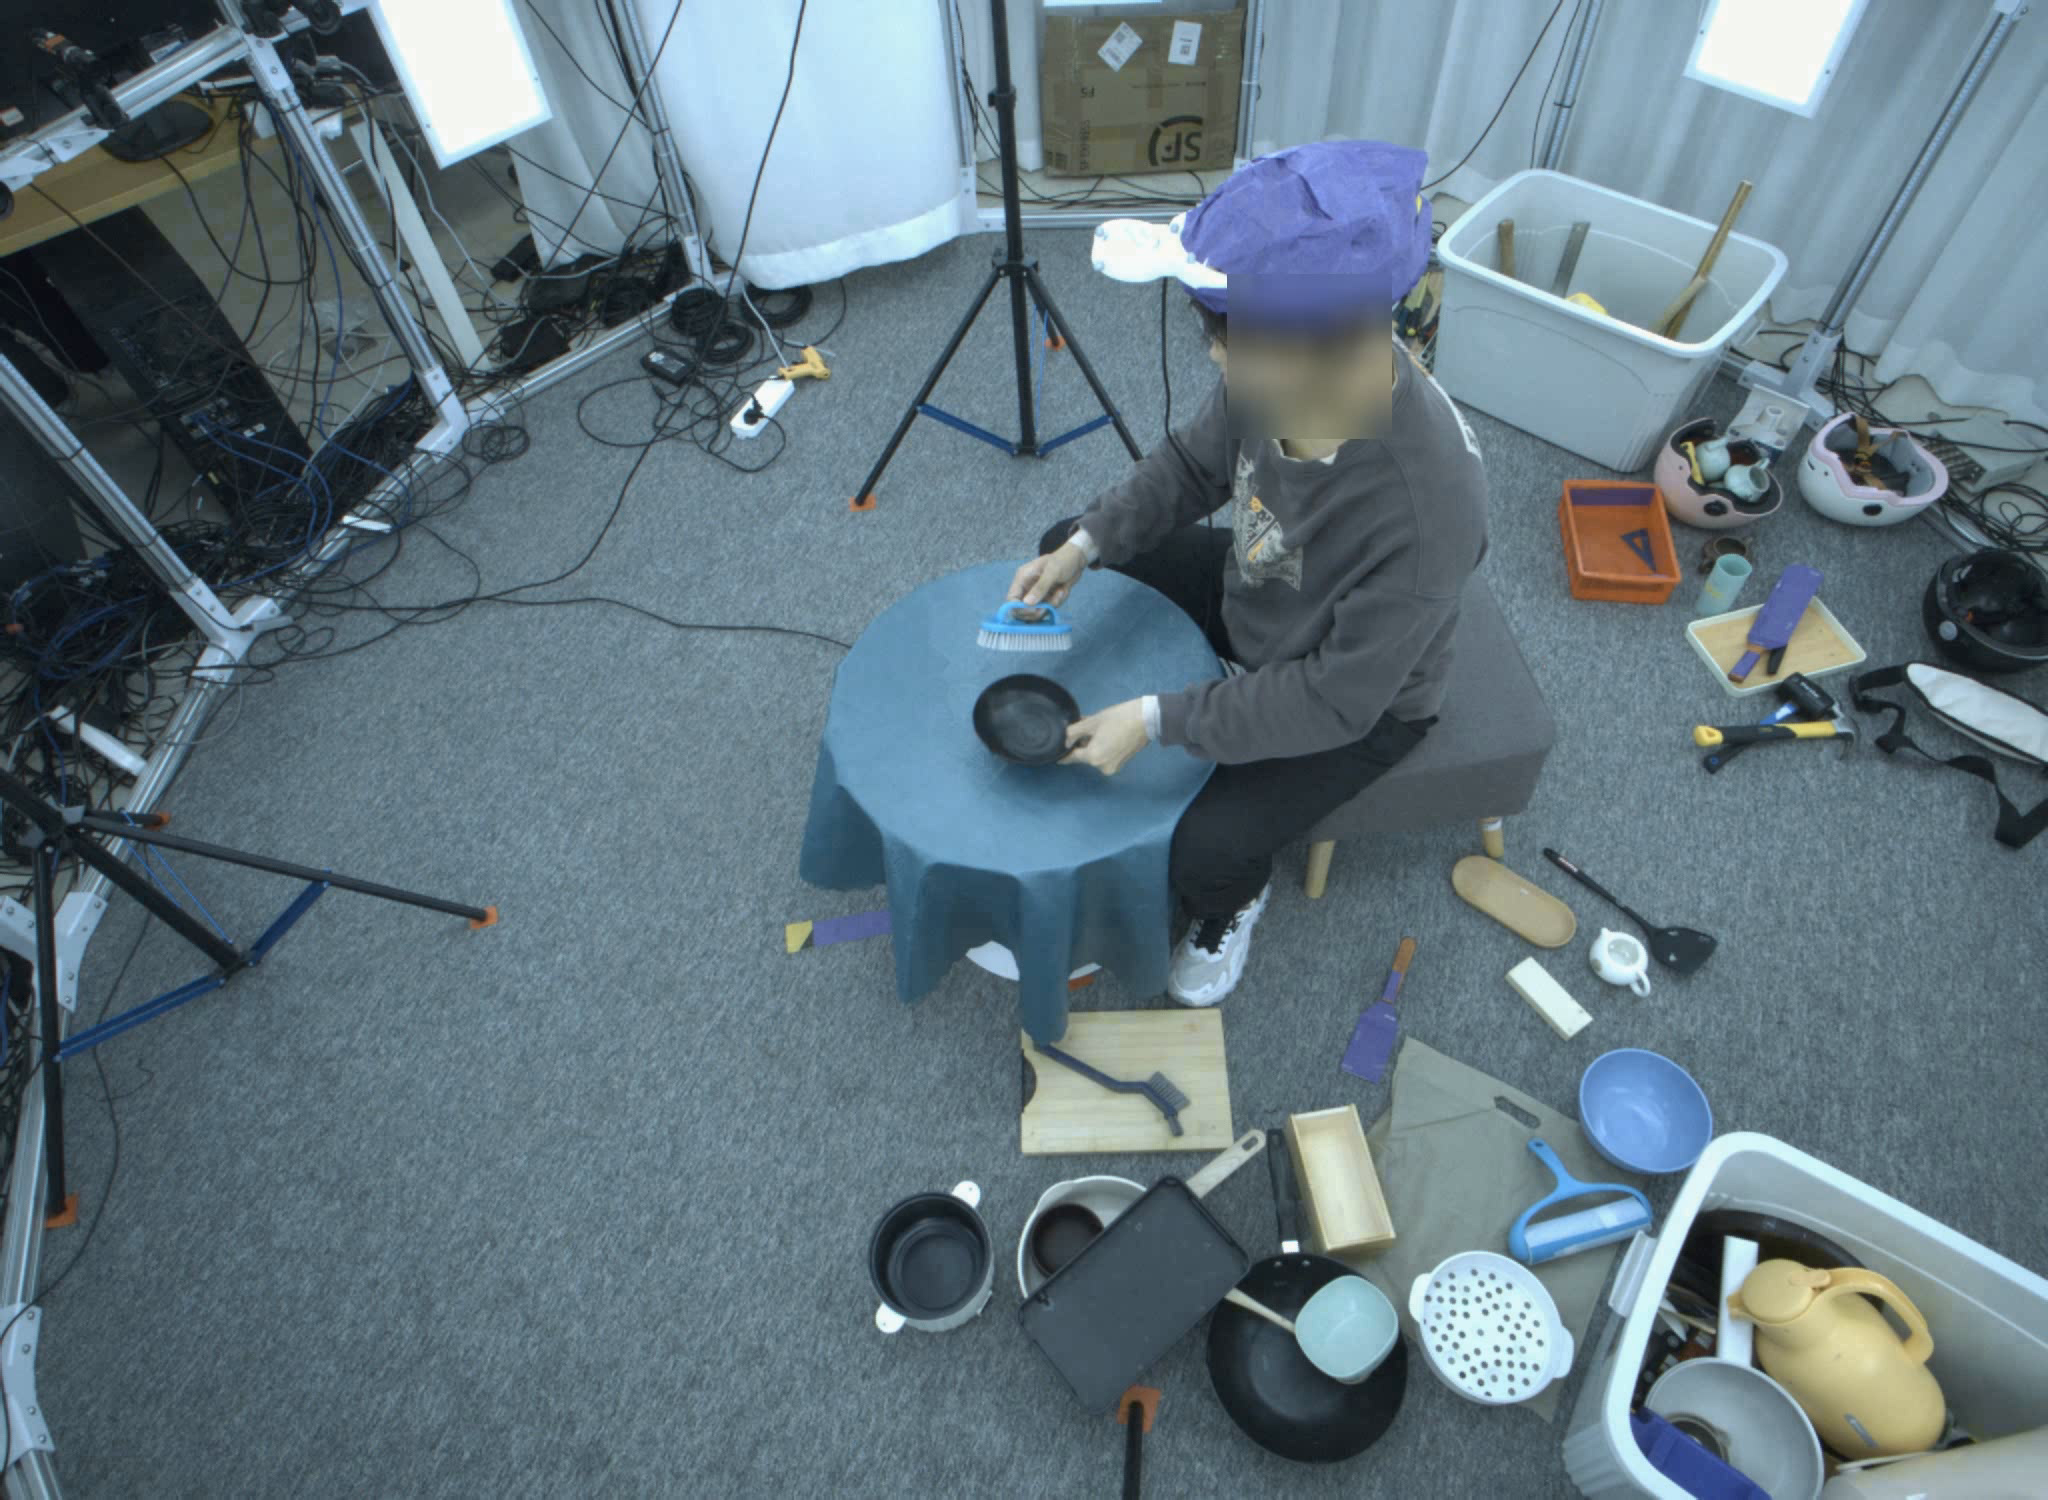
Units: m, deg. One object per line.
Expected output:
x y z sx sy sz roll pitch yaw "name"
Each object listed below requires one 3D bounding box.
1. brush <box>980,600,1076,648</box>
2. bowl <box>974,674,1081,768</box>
0.005 -0.181 1.752 0.144 0.064 0.083 -1 13 -20 "brush"
0.007 -0.032 1.753 0.167 0.068 0.137 29 73 24 "bowl"
